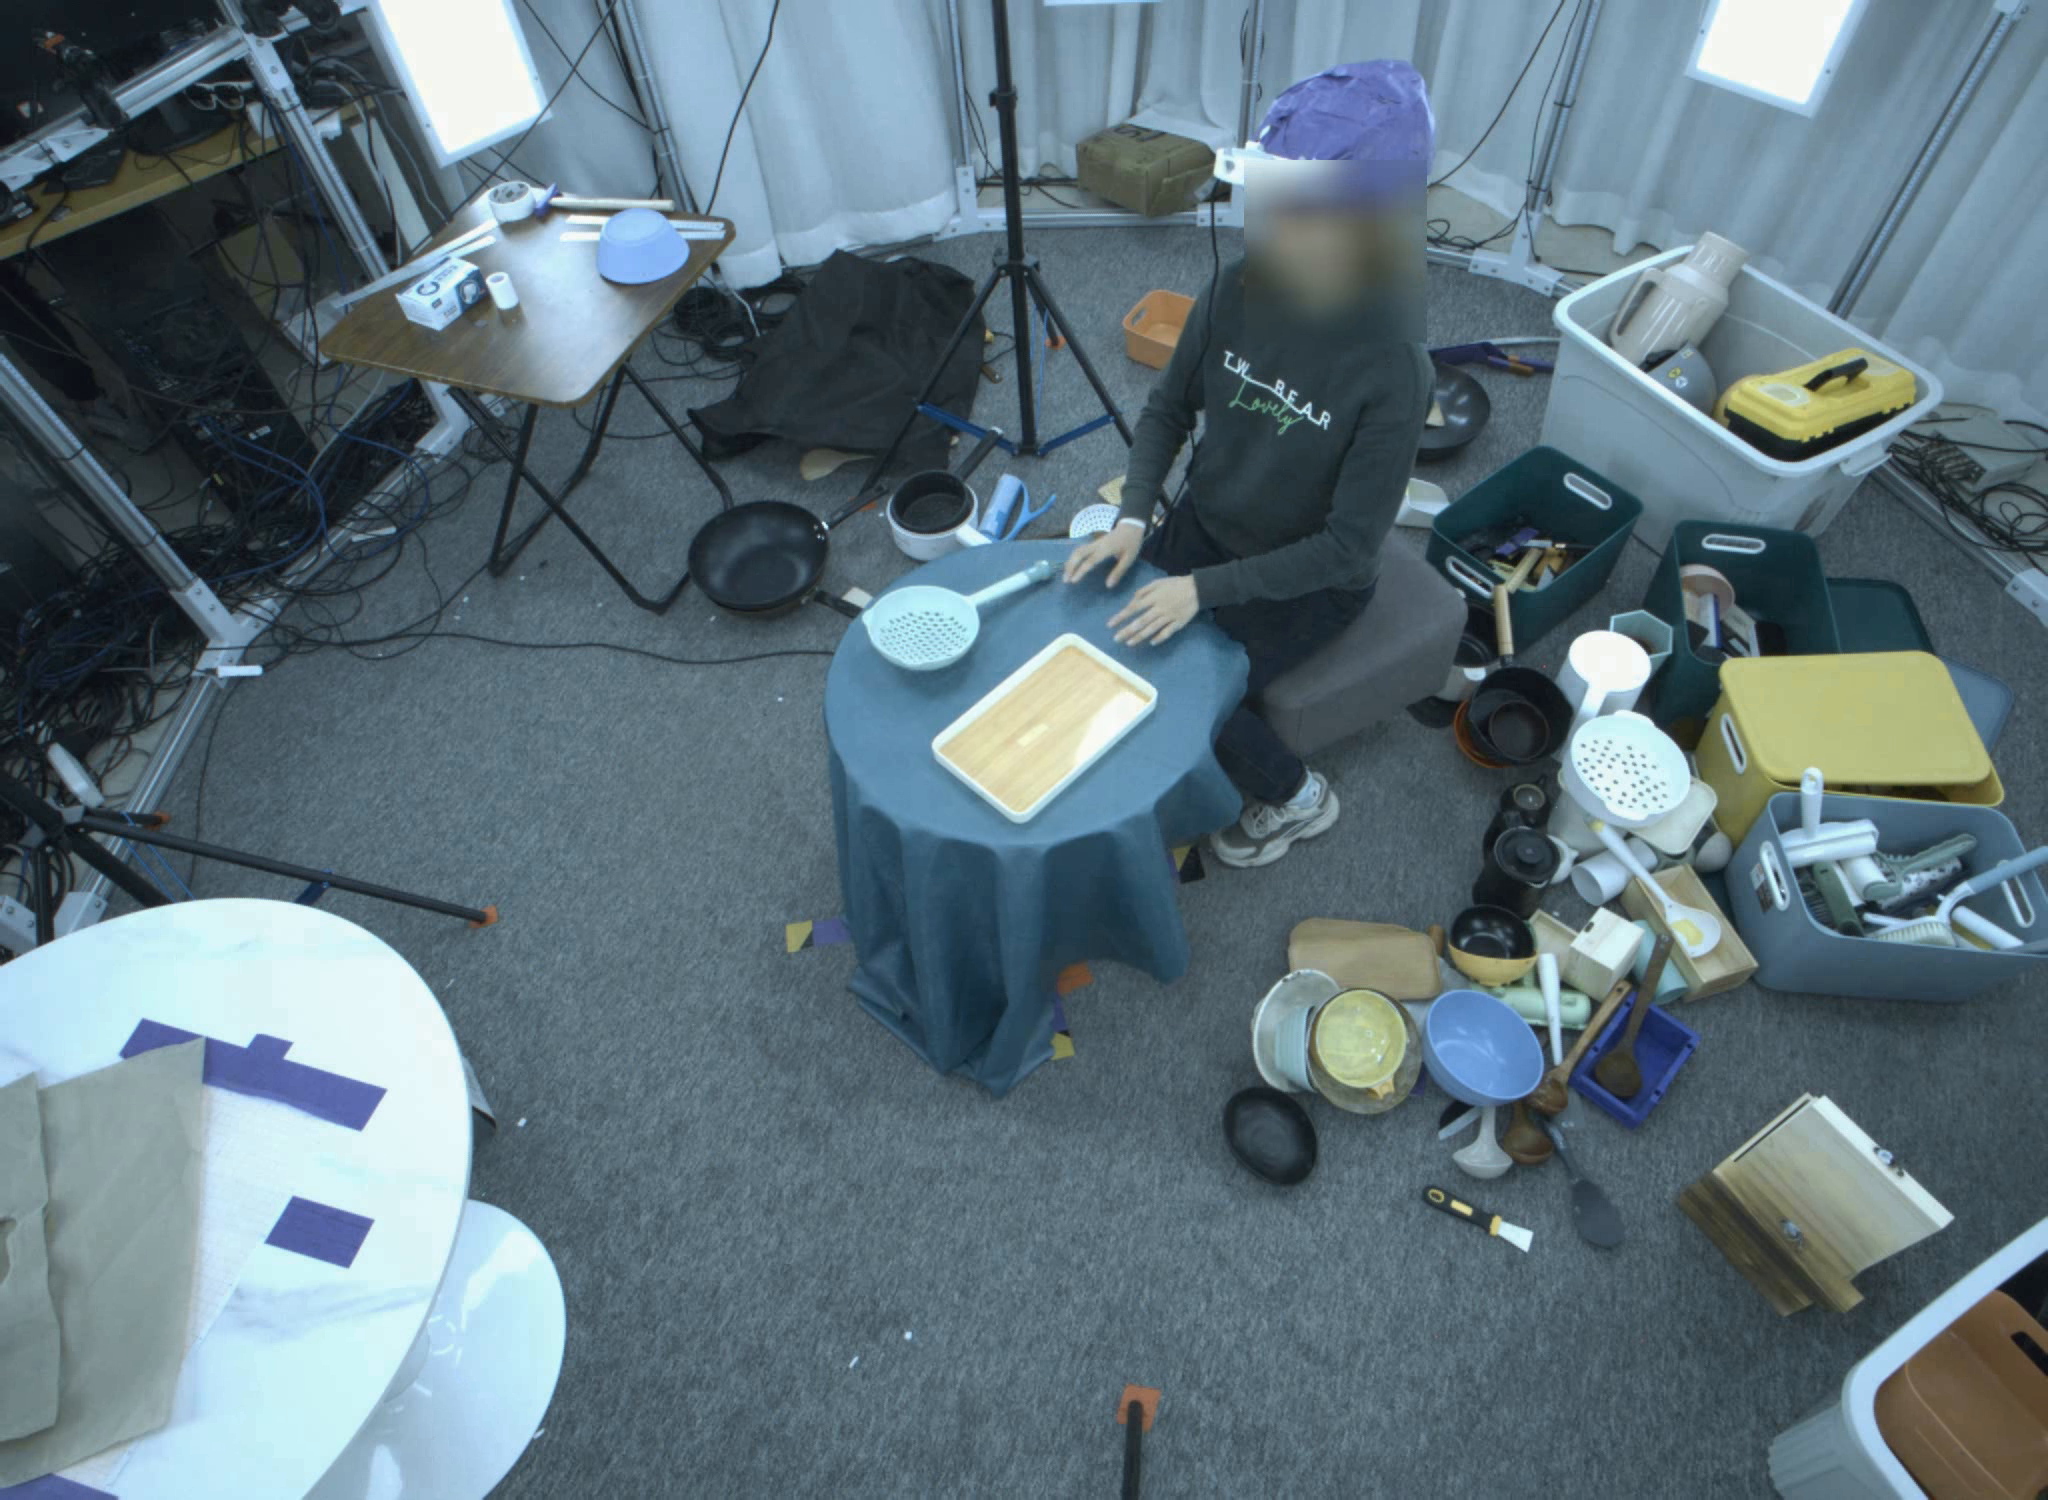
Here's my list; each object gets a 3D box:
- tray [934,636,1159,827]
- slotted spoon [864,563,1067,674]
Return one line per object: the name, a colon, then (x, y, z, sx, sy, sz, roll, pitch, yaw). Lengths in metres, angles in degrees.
tray: (0.035, -0.033, 1.804, 0.188, 0.028, 0.302, 38, 64, 25)
slotted spoon: (-0.076, -0.224, 1.918, 0.361, 0.076, 0.166, -34, 61, -20)
